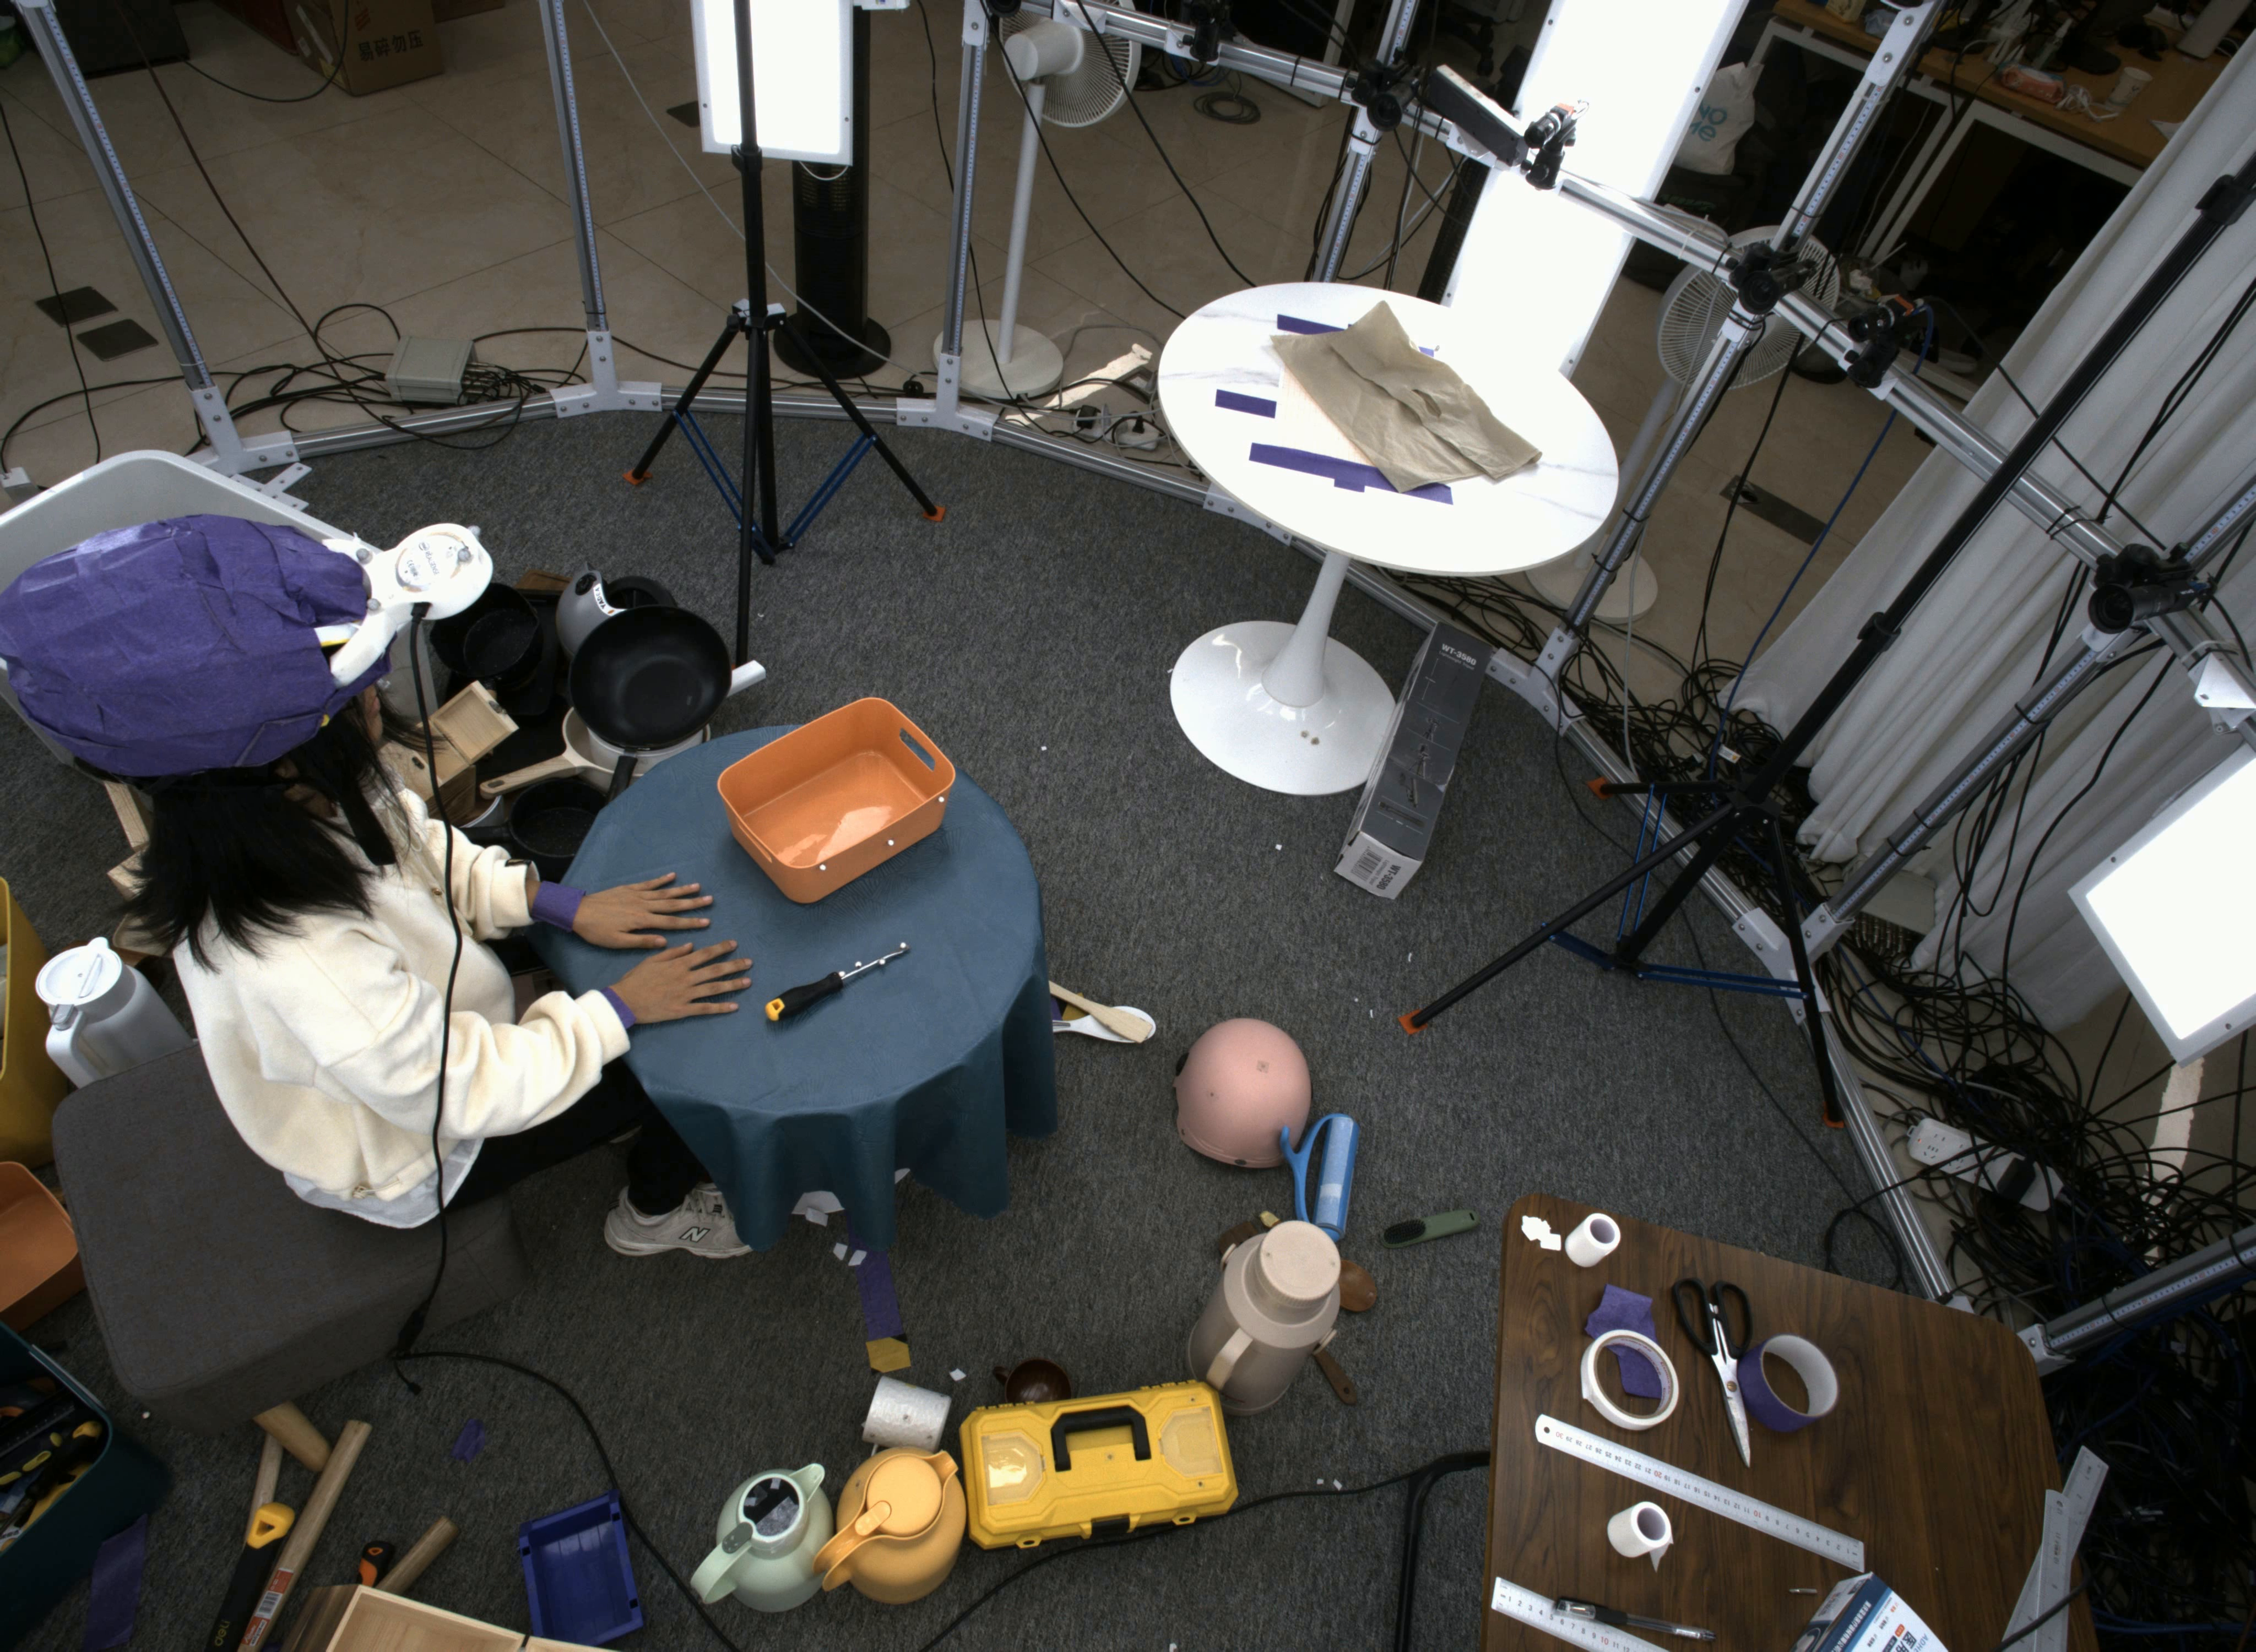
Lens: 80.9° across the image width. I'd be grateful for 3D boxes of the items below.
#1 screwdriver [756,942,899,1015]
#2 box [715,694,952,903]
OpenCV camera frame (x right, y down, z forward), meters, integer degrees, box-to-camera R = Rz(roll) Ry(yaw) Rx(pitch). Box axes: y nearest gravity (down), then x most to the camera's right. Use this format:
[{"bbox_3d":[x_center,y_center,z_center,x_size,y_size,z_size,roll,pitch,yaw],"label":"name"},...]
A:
[{"bbox_3d":[-0.363,0.176,1.574,0.199,0.032,0.031,-26,61,-40],"label":"screwdriver"},{"bbox_3d":[-0.381,-0.035,1.689,0.274,0.104,0.195,-34,68,-33],"label":"box"}]
